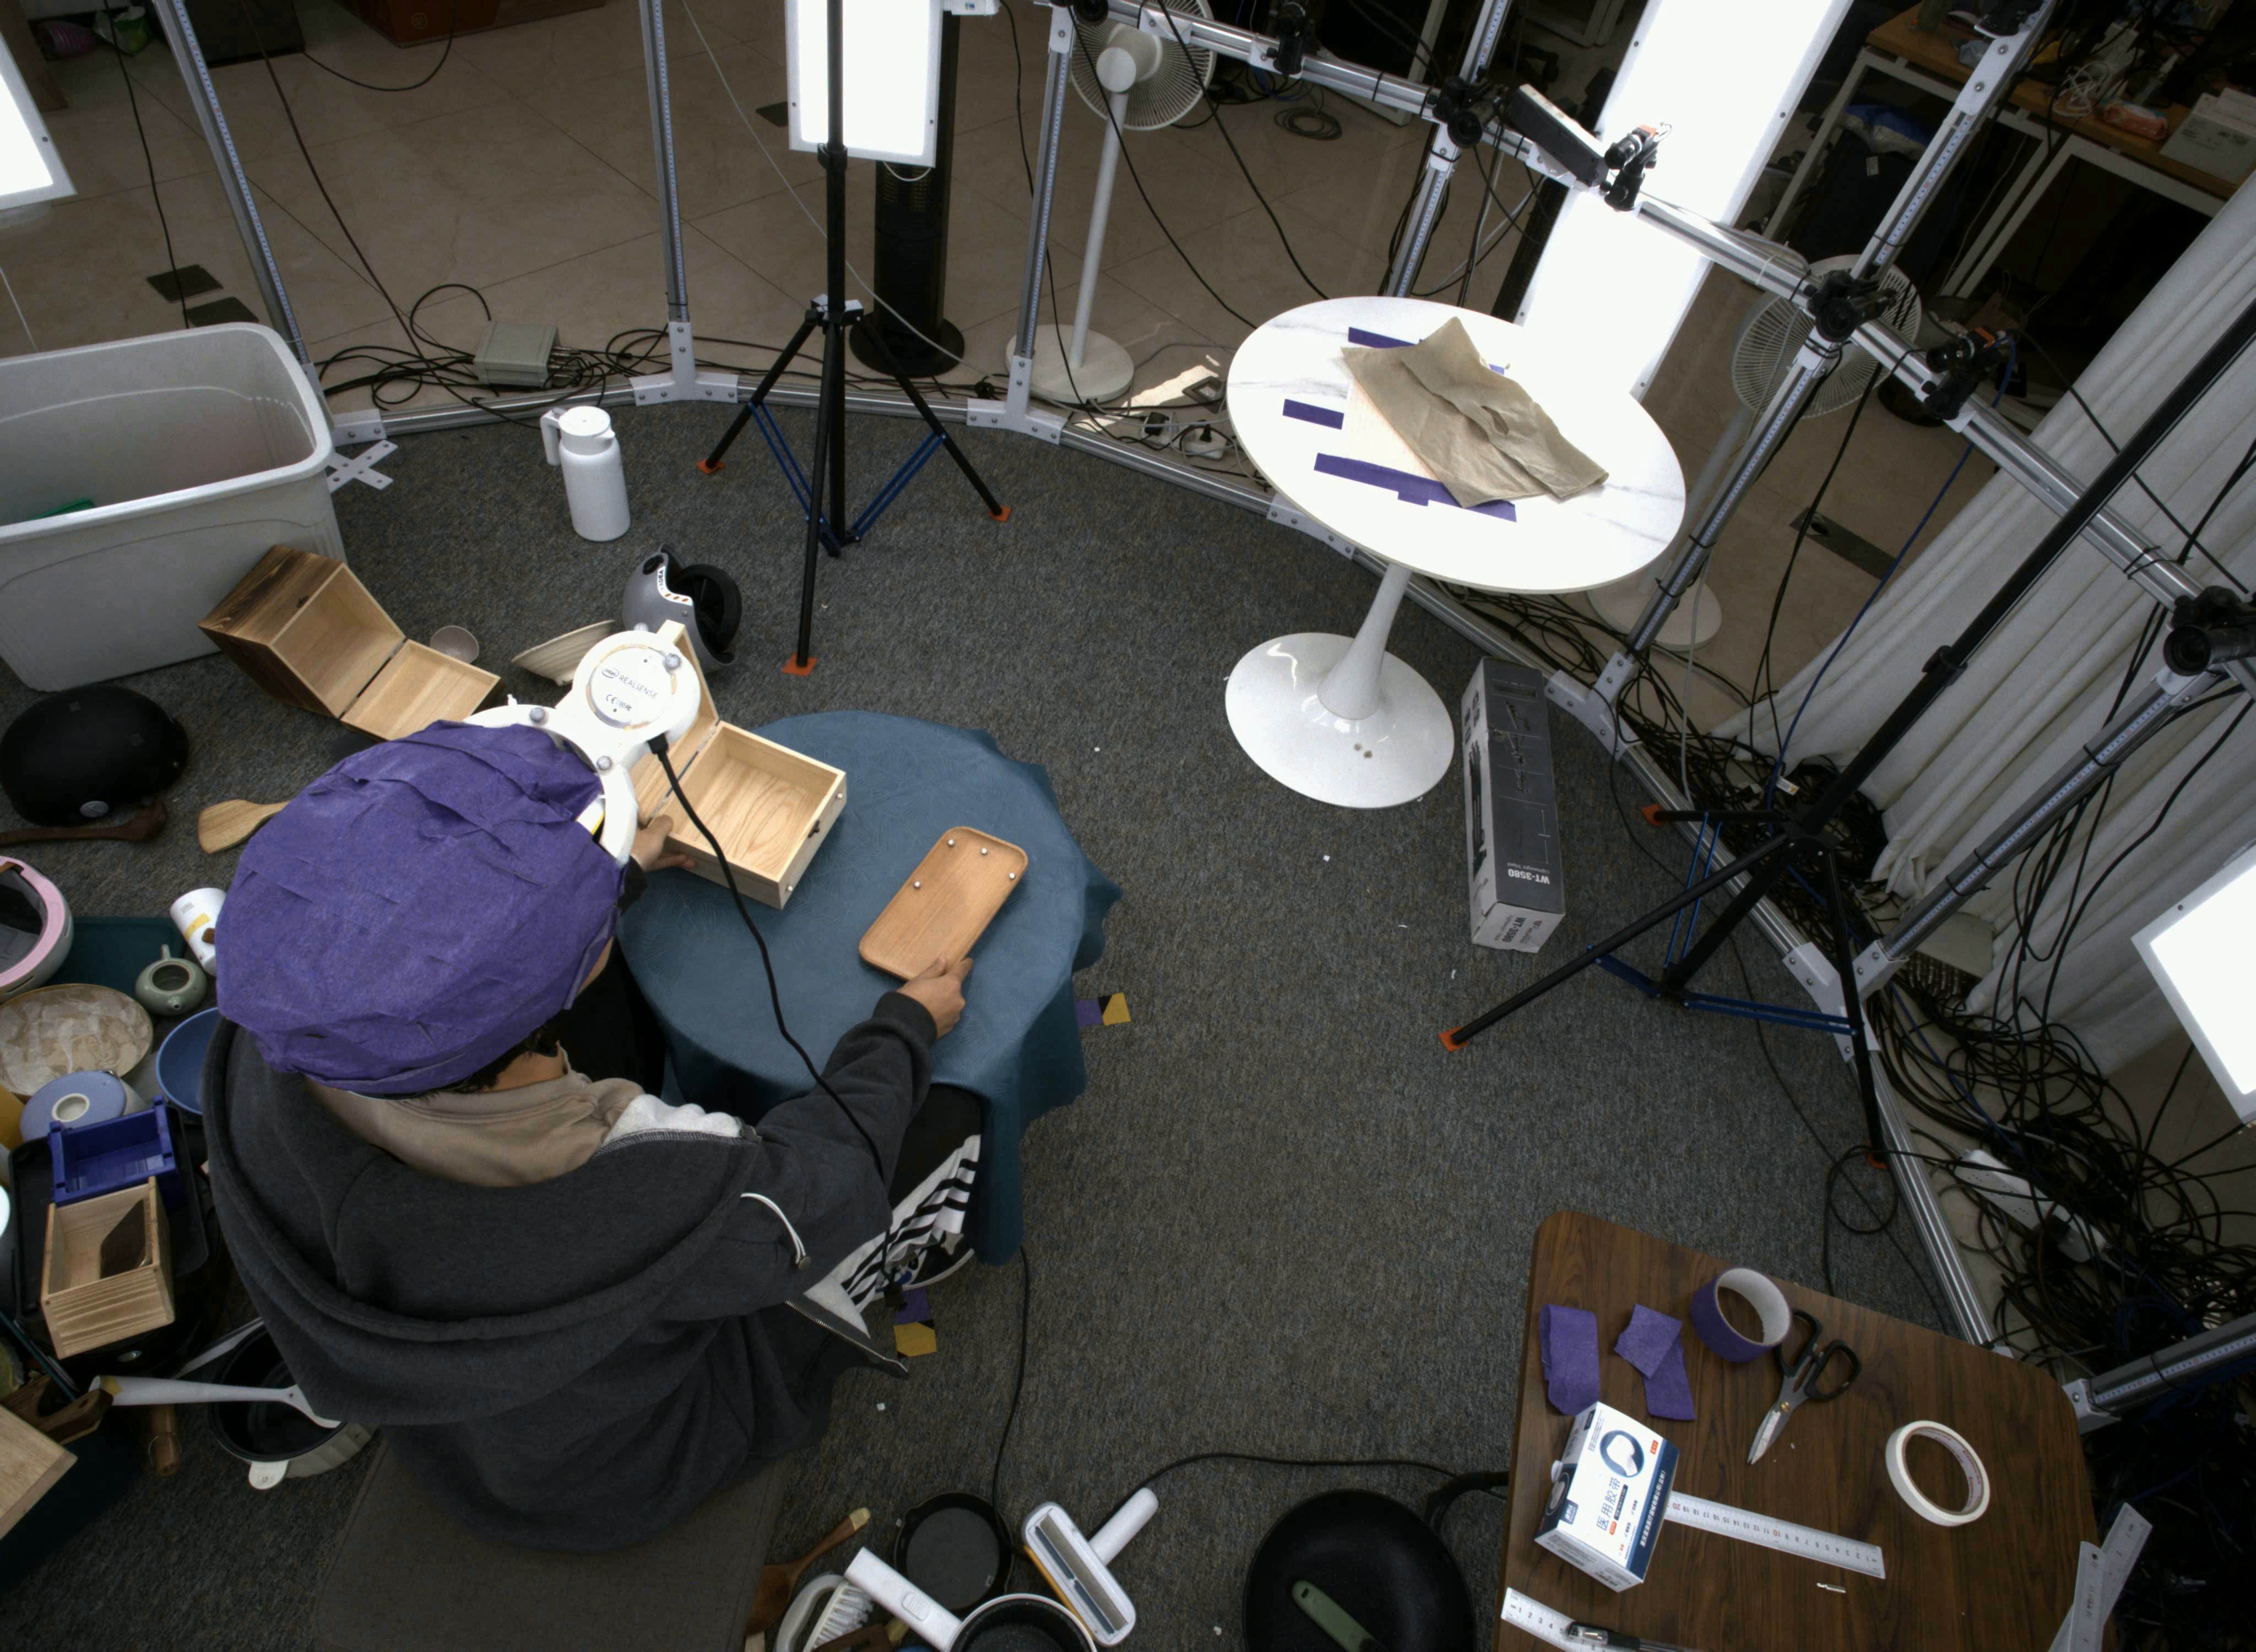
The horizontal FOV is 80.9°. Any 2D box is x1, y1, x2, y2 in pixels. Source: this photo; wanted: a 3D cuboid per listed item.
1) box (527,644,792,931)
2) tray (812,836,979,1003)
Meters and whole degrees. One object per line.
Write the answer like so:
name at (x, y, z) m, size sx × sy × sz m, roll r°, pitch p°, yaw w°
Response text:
box at (-0.567, -0.045, 1.550) m, size 0.263 × 0.257 × 0.180 m, roll 18°, pitch 60°, yaw 0°
tray at (-0.292, 0.114, 1.655) m, size 0.127 × 0.023 × 0.249 m, roll 17°, pitch 51°, yaw 14°
